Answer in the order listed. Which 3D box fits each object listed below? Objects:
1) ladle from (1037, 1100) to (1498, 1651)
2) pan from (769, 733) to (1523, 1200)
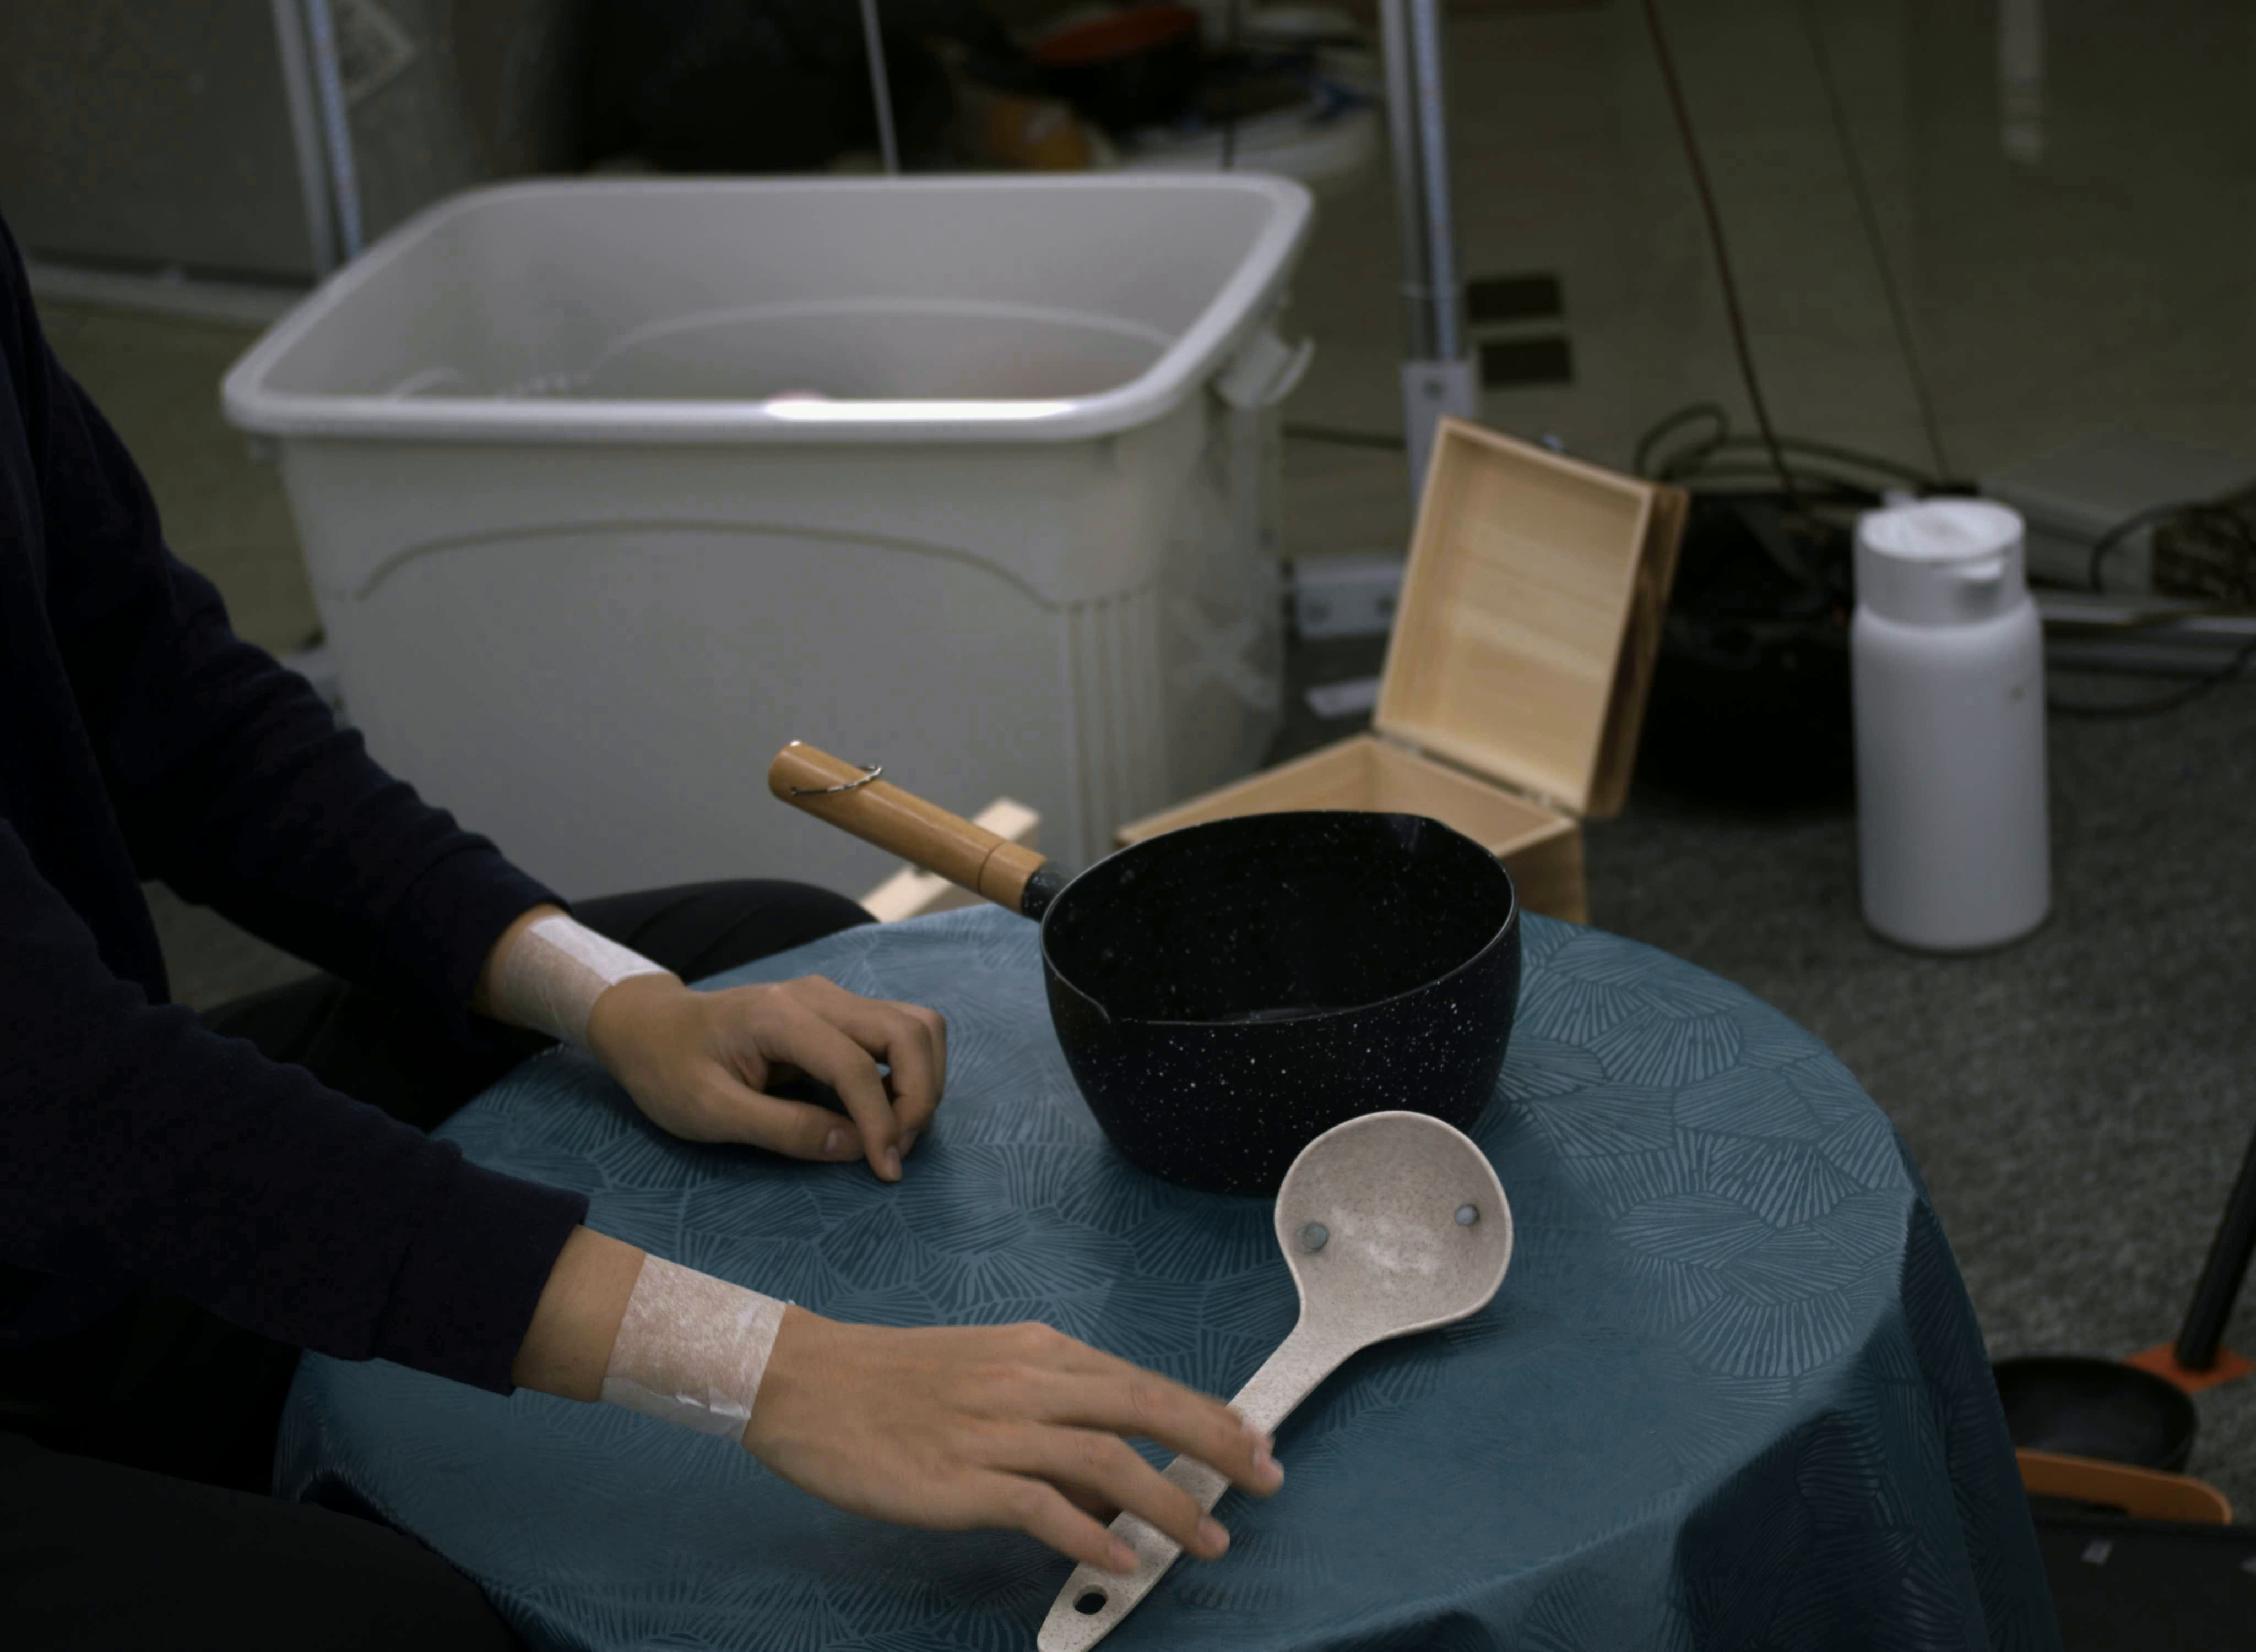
[{"bbox_3d":[0.039,0.187,1.947,0.089,0.070,0.271,14,33,26],"label":"ladle"},{"bbox_3d":[-0.004,0.046,2.217,0.341,0.110,0.205,14,33,34],"label":"pan"}]
